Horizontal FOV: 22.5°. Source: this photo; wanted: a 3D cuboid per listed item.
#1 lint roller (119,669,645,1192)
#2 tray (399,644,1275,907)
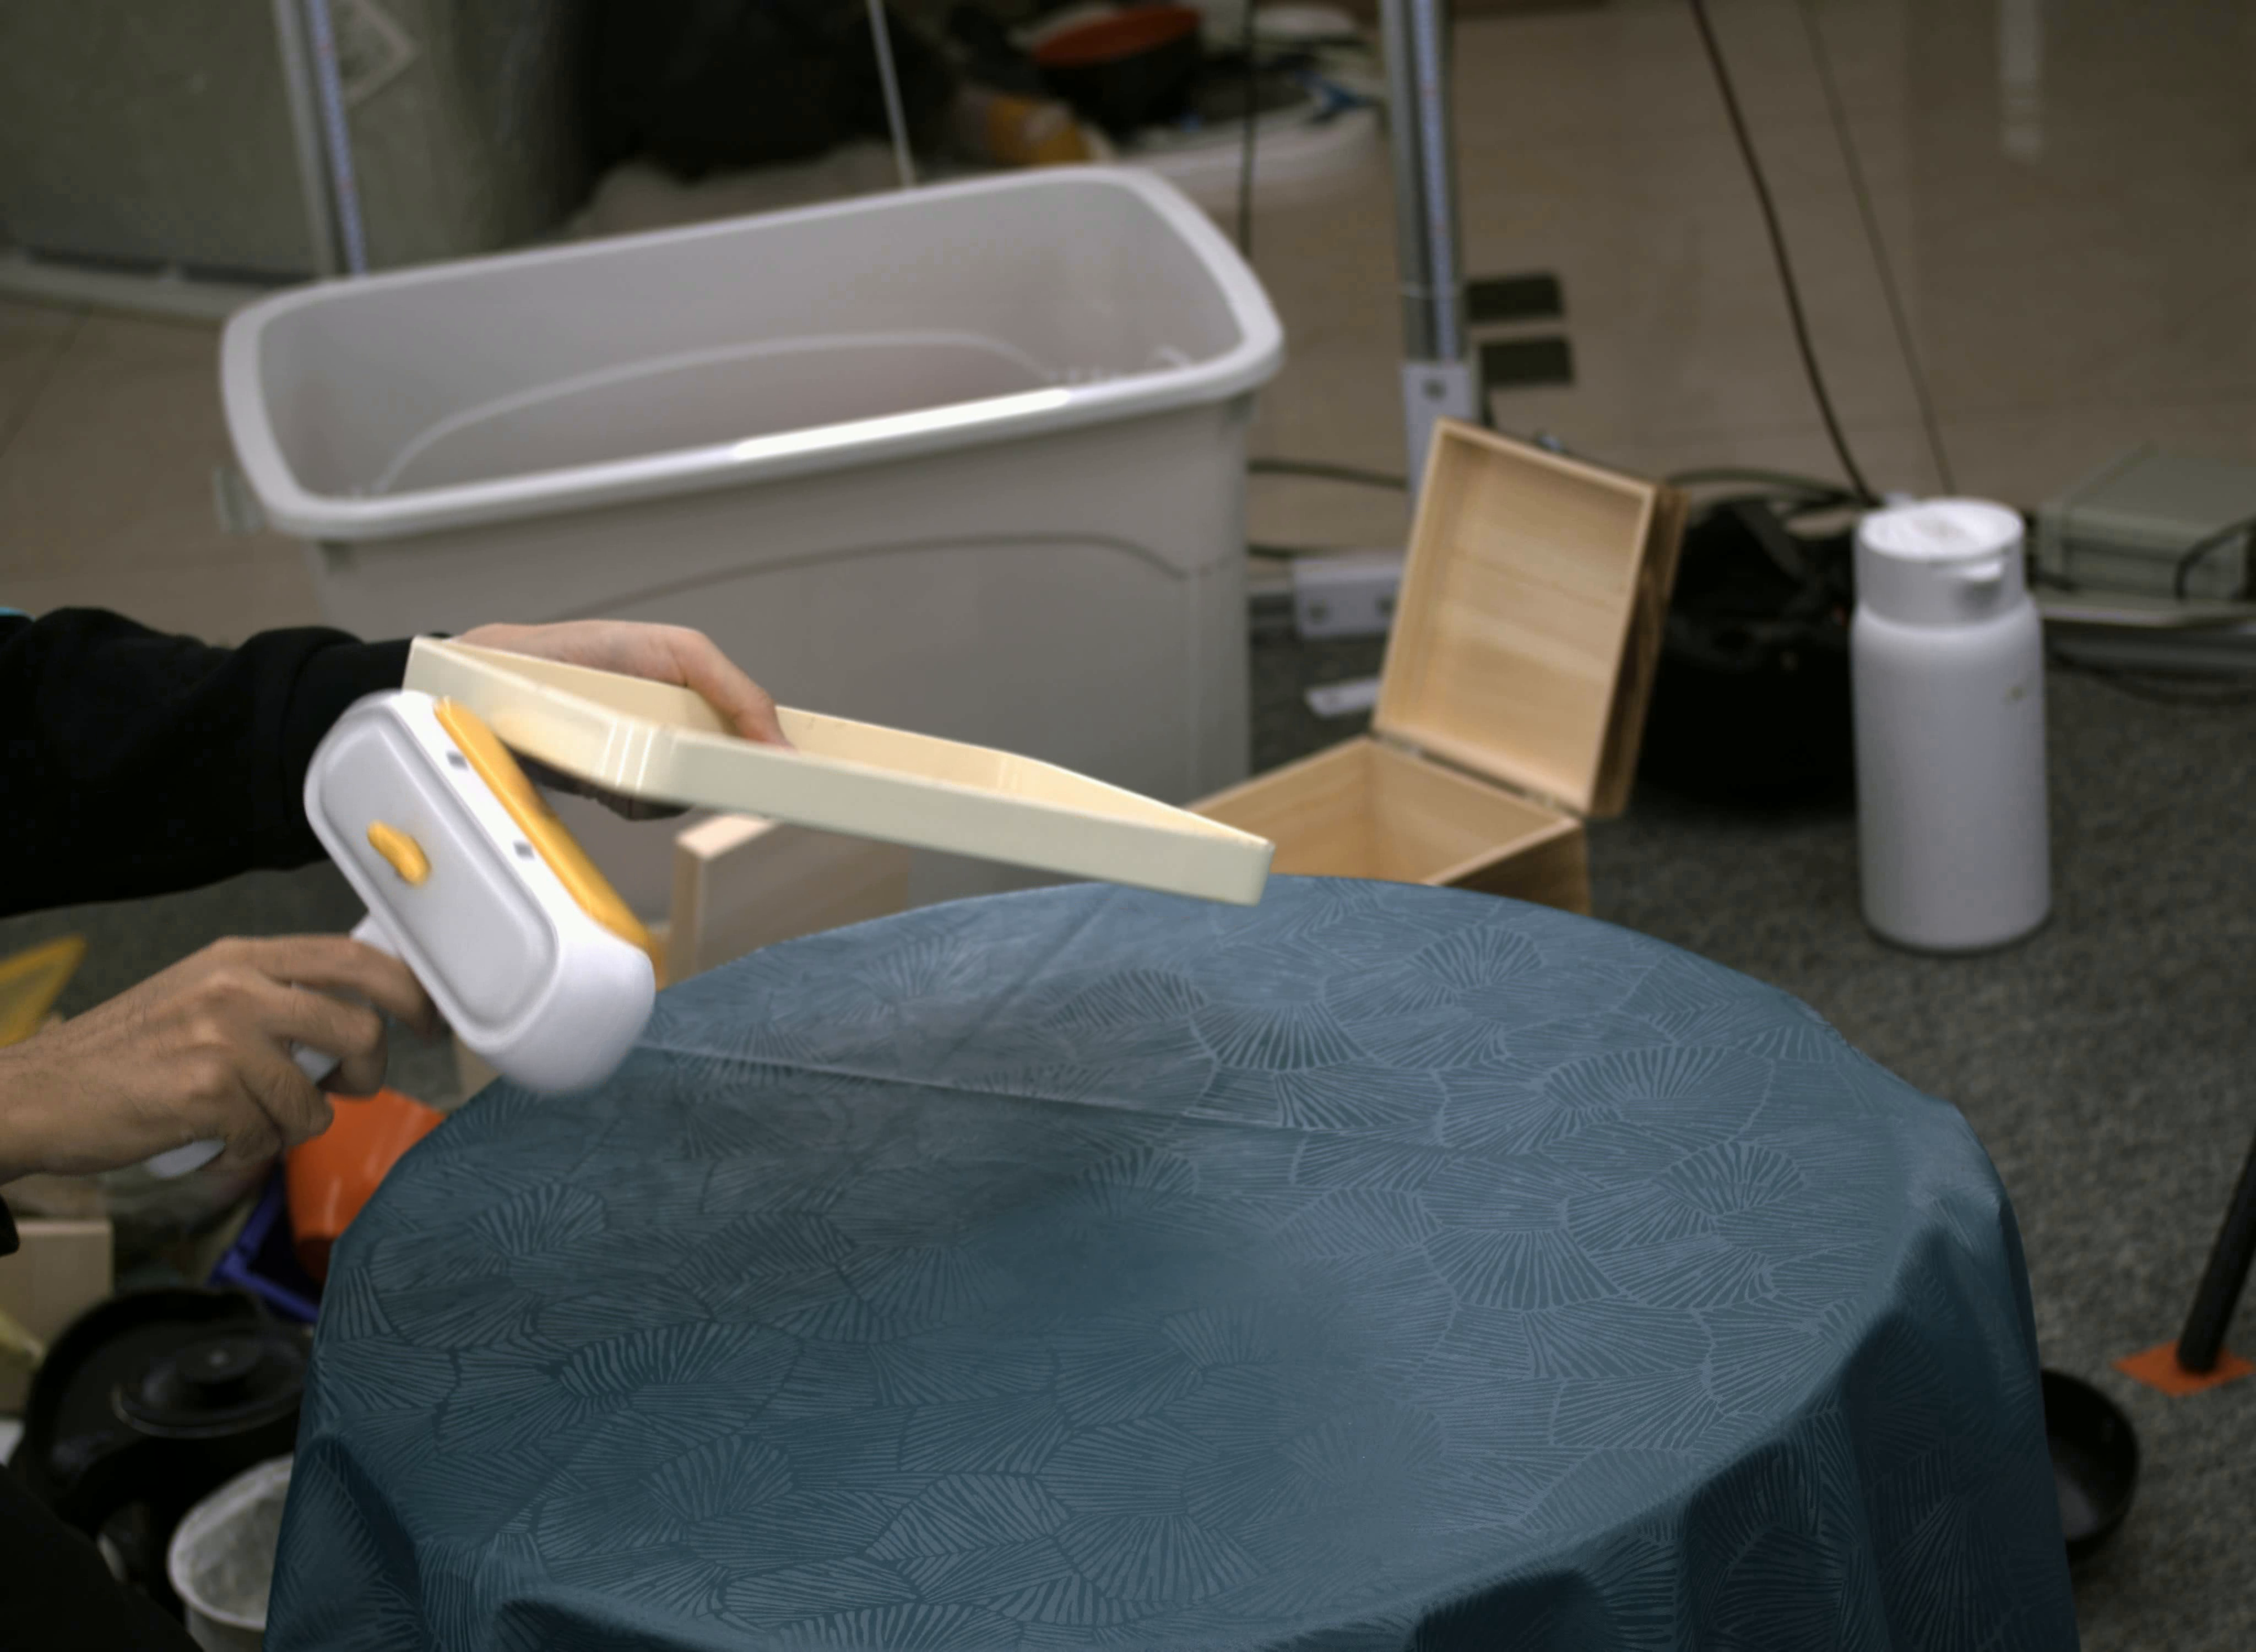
[{"bbox_3d":[-0.280,0.055,2.024,0.193,0.075,0.190,-50,53,5],"label":"lint roller"},{"bbox_3d":[-0.111,-0.018,2.150,0.301,0.027,0.190,11,5,-36],"label":"tray"}]
